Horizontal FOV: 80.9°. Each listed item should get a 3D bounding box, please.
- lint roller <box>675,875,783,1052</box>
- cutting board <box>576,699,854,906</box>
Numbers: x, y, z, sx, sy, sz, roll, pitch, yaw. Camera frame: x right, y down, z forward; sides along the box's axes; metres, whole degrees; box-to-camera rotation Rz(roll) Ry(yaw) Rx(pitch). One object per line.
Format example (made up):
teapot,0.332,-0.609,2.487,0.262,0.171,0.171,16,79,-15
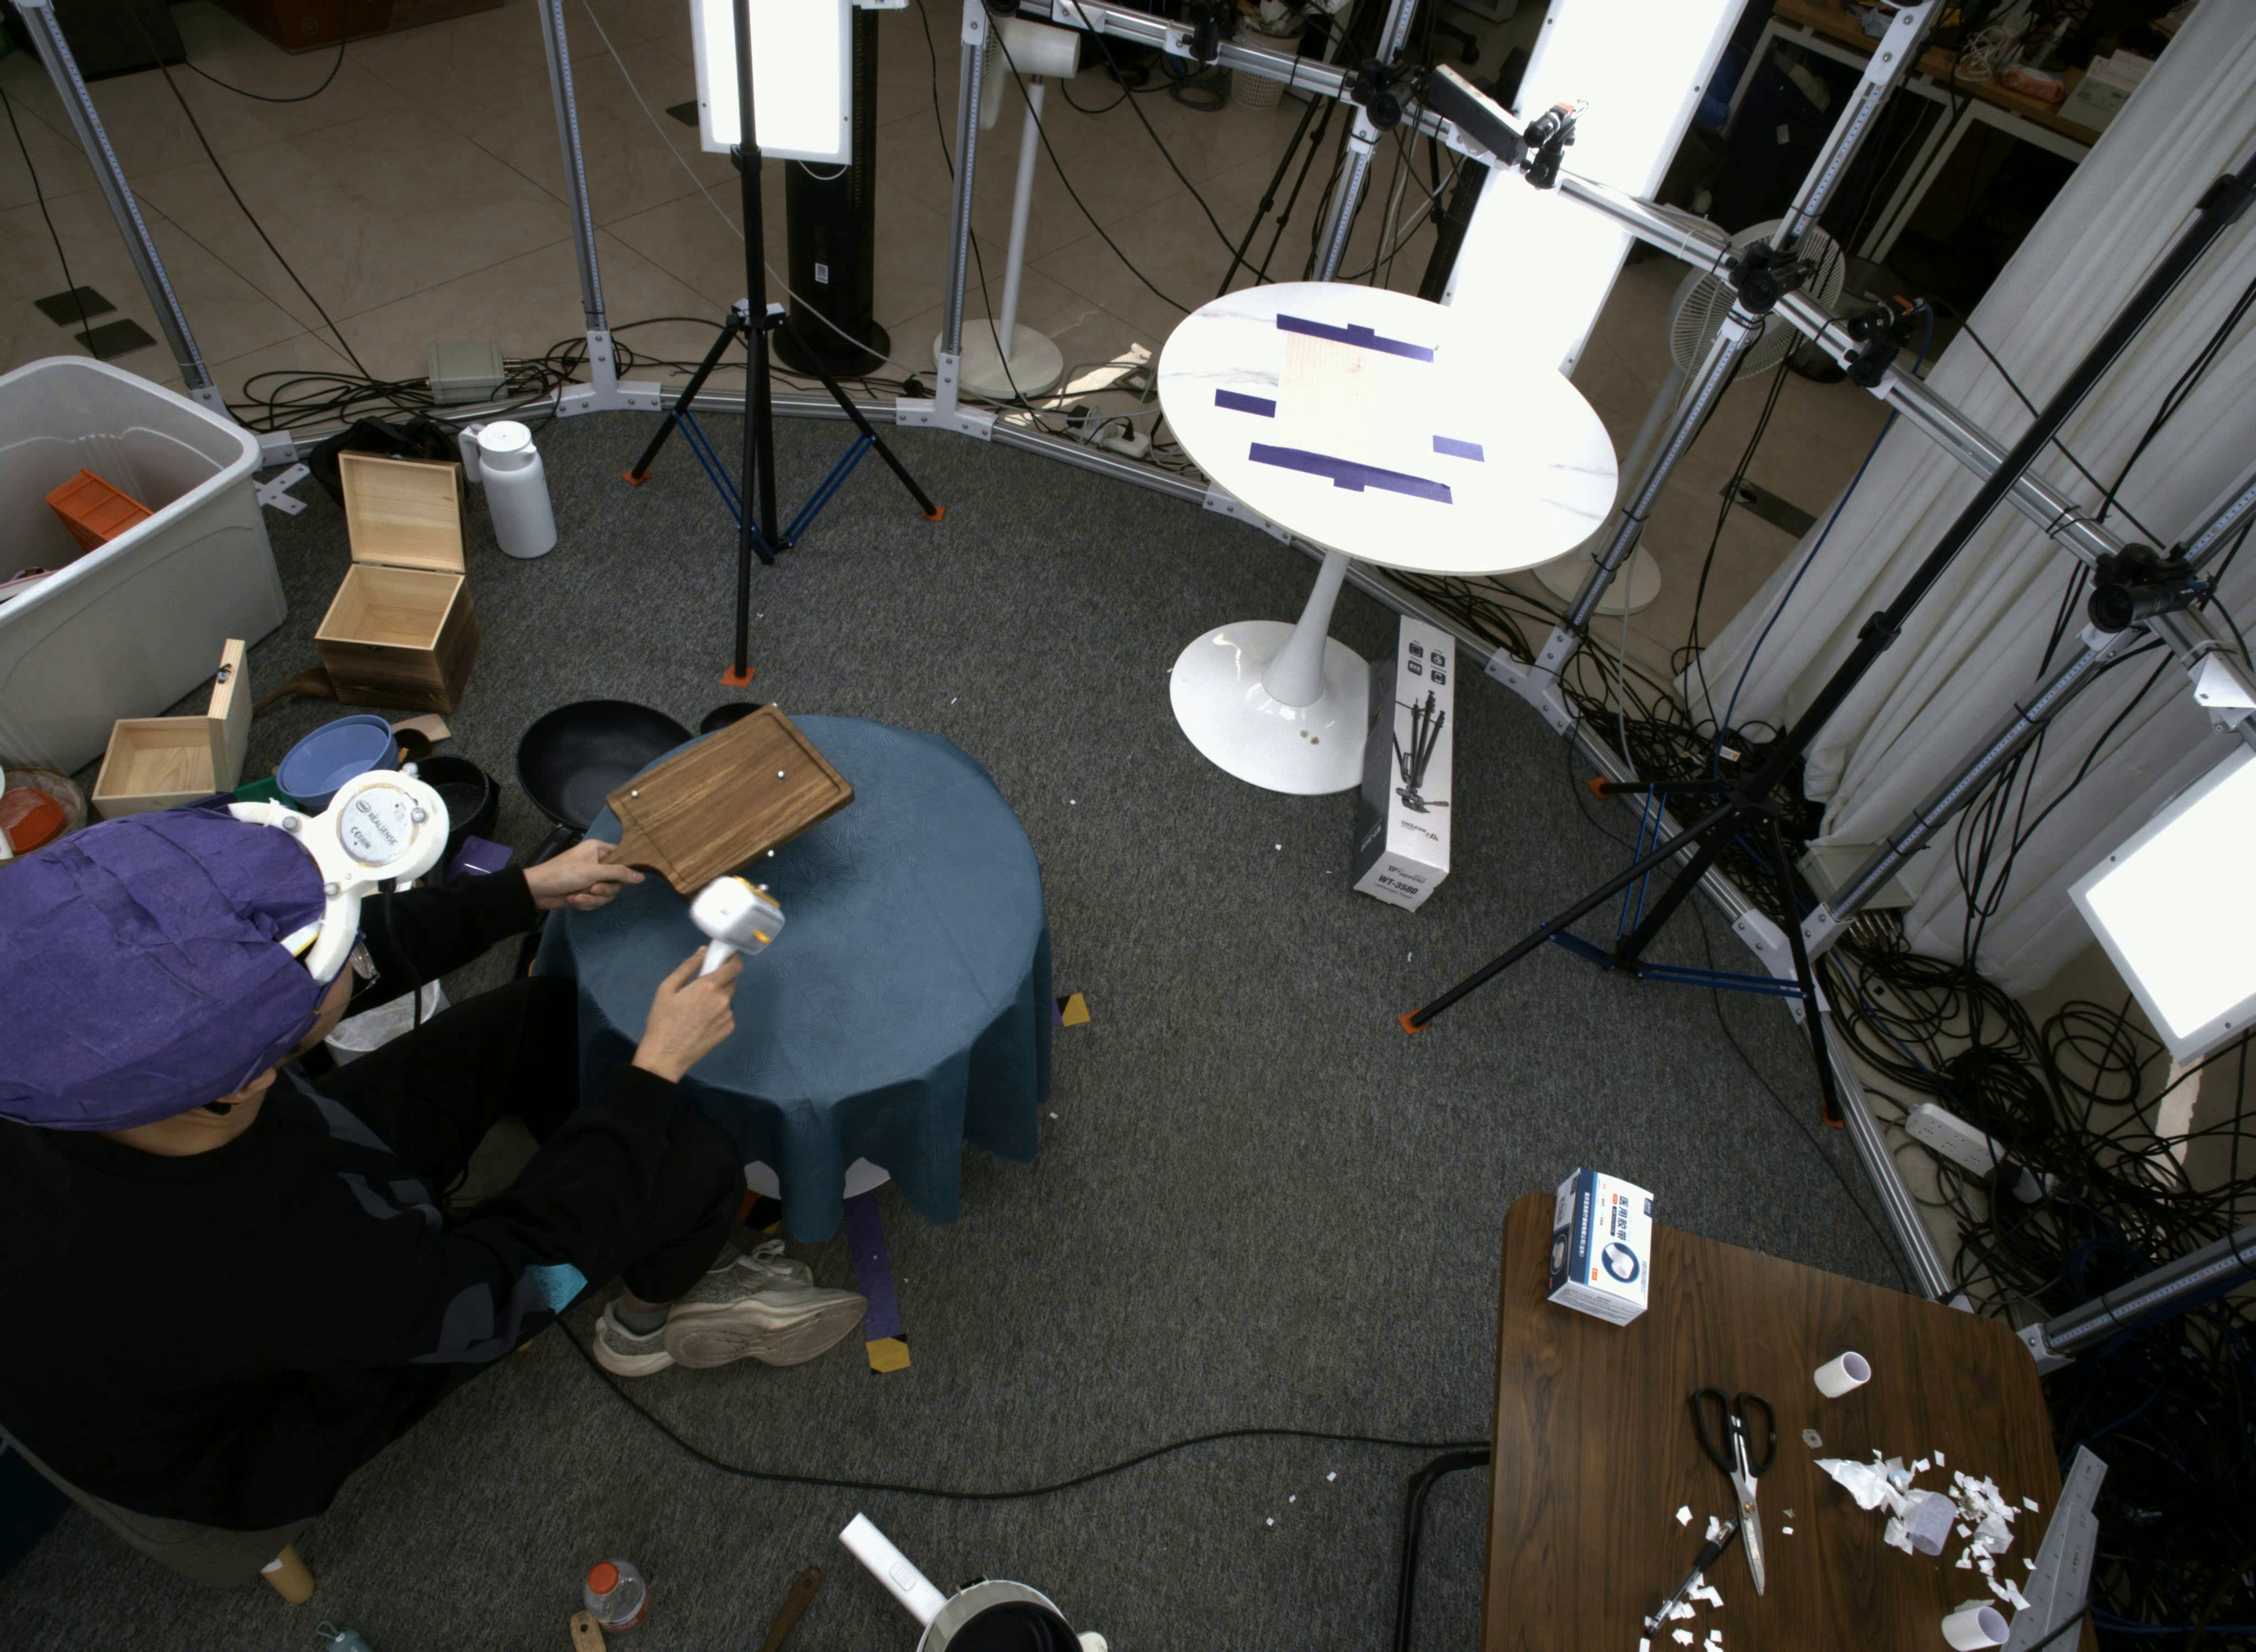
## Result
lint roller,-0.467,0.154,1.448,0.073,0.194,0.193,29,82,4
cutting board,-0.537,-0.013,1.603,0.352,0.024,0.196,-36,66,-24
